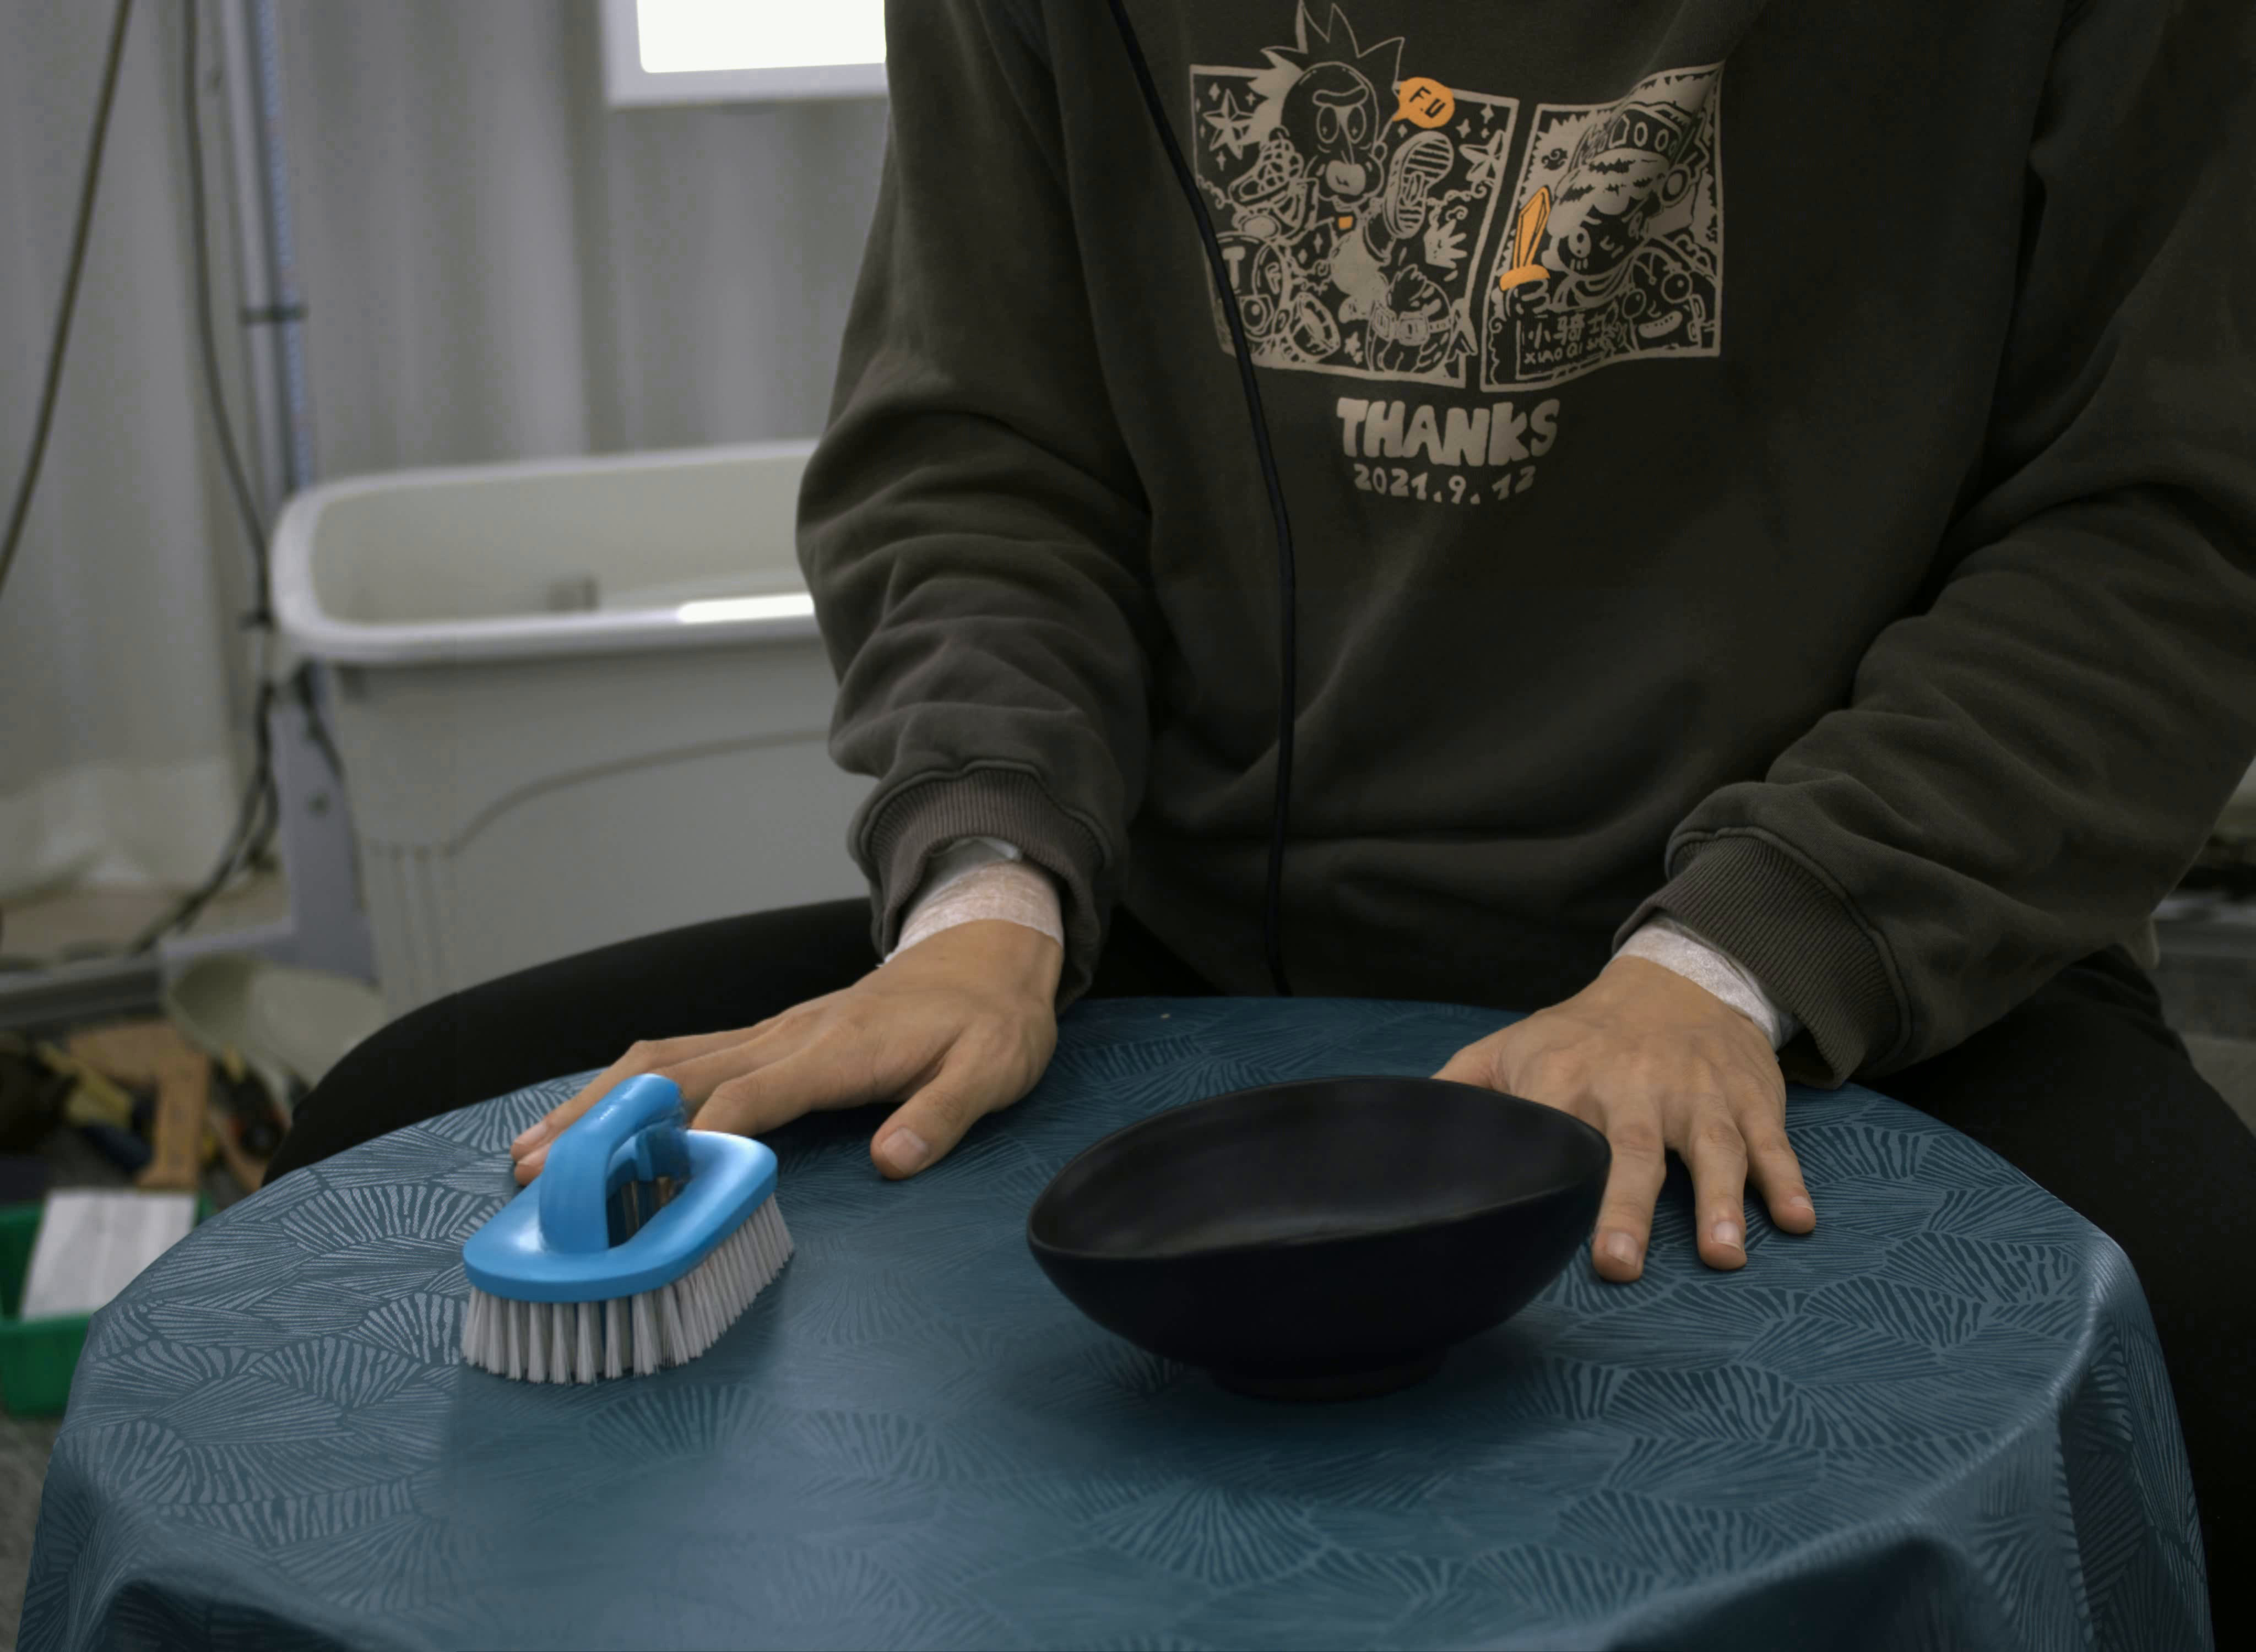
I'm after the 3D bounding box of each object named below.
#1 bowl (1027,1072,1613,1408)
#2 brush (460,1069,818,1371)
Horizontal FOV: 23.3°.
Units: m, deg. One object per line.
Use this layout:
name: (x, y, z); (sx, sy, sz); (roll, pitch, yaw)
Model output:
bowl: (0.057, 0.124, 1.556); (0.169, 0.066, 0.138); (-9, 15, -14)
brush: (-0.148, 0.112, 1.637); (0.084, 0.063, 0.142); (-3, 13, 18)
